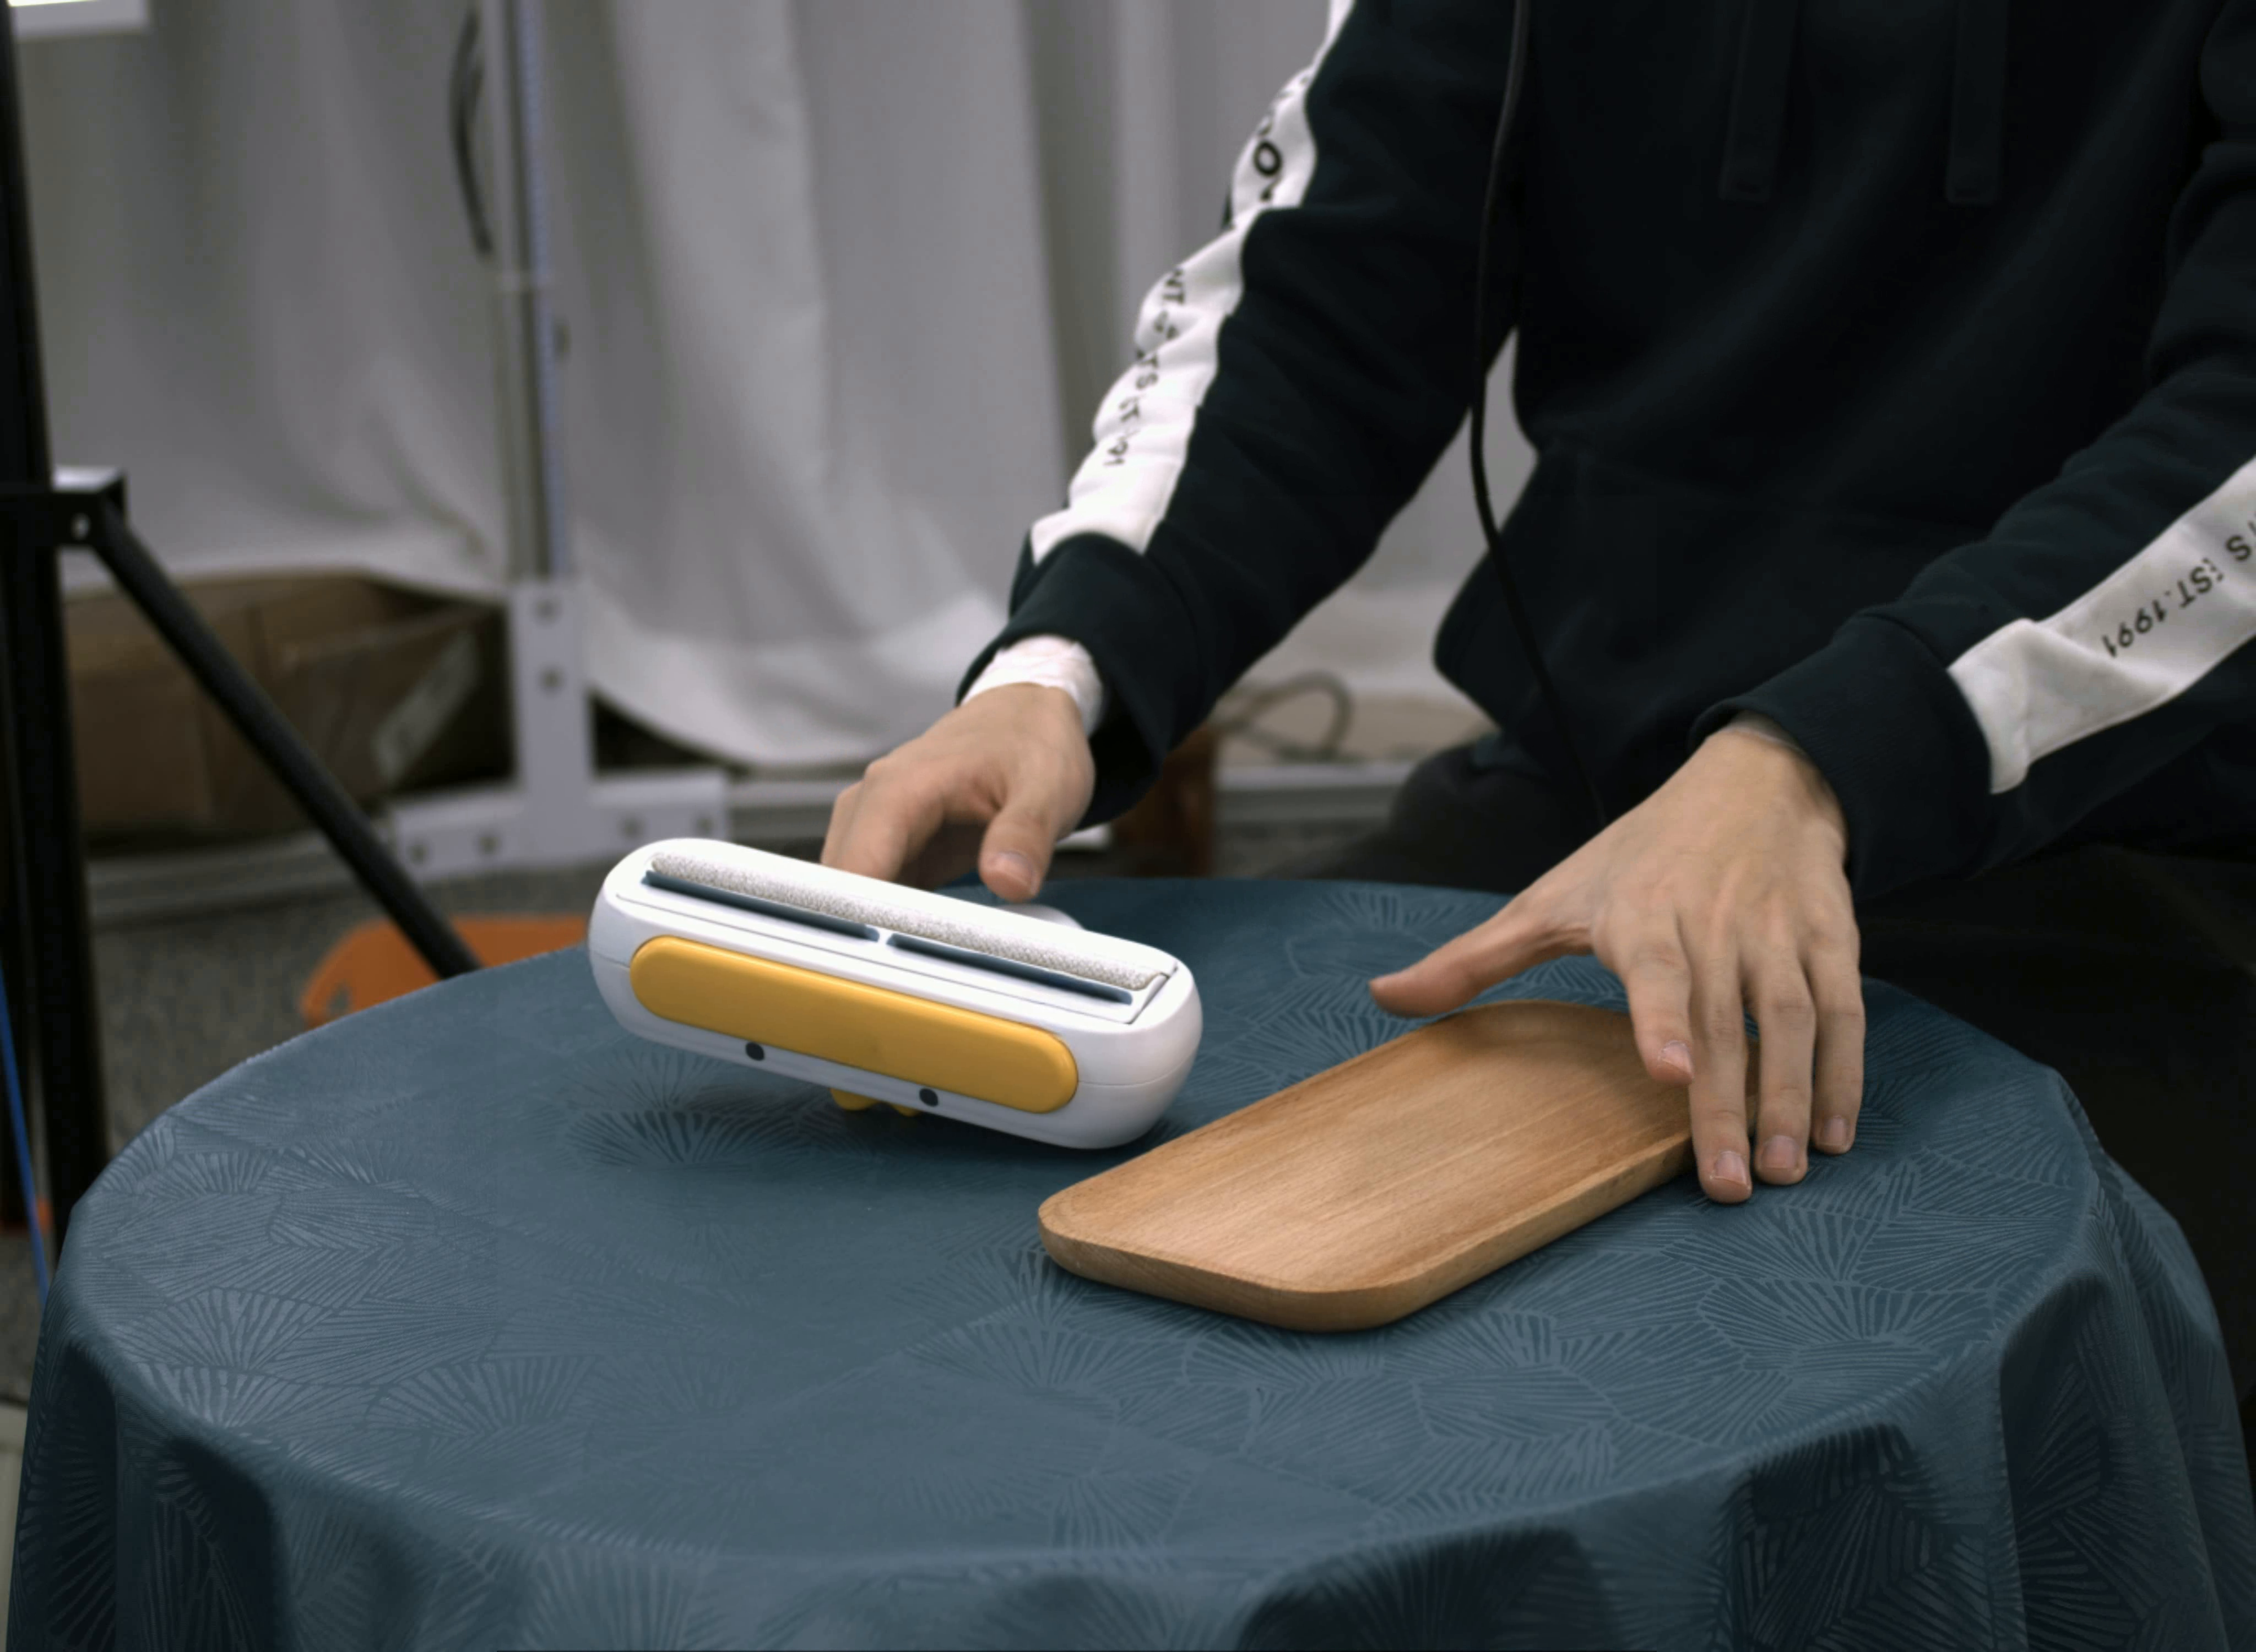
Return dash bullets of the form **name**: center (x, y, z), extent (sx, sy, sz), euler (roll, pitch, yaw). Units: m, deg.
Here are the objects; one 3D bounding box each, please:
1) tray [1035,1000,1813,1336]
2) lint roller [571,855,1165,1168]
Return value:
- **tray**: center (0.090, 0.098, 1.550), extent (0.133, 0.023, 0.245), euler (13, 22, 39)
- **lint roller**: center (-0.058, 0.061, 1.678), extent (0.196, 0.074, 0.189), euler (13, 5, 24)
